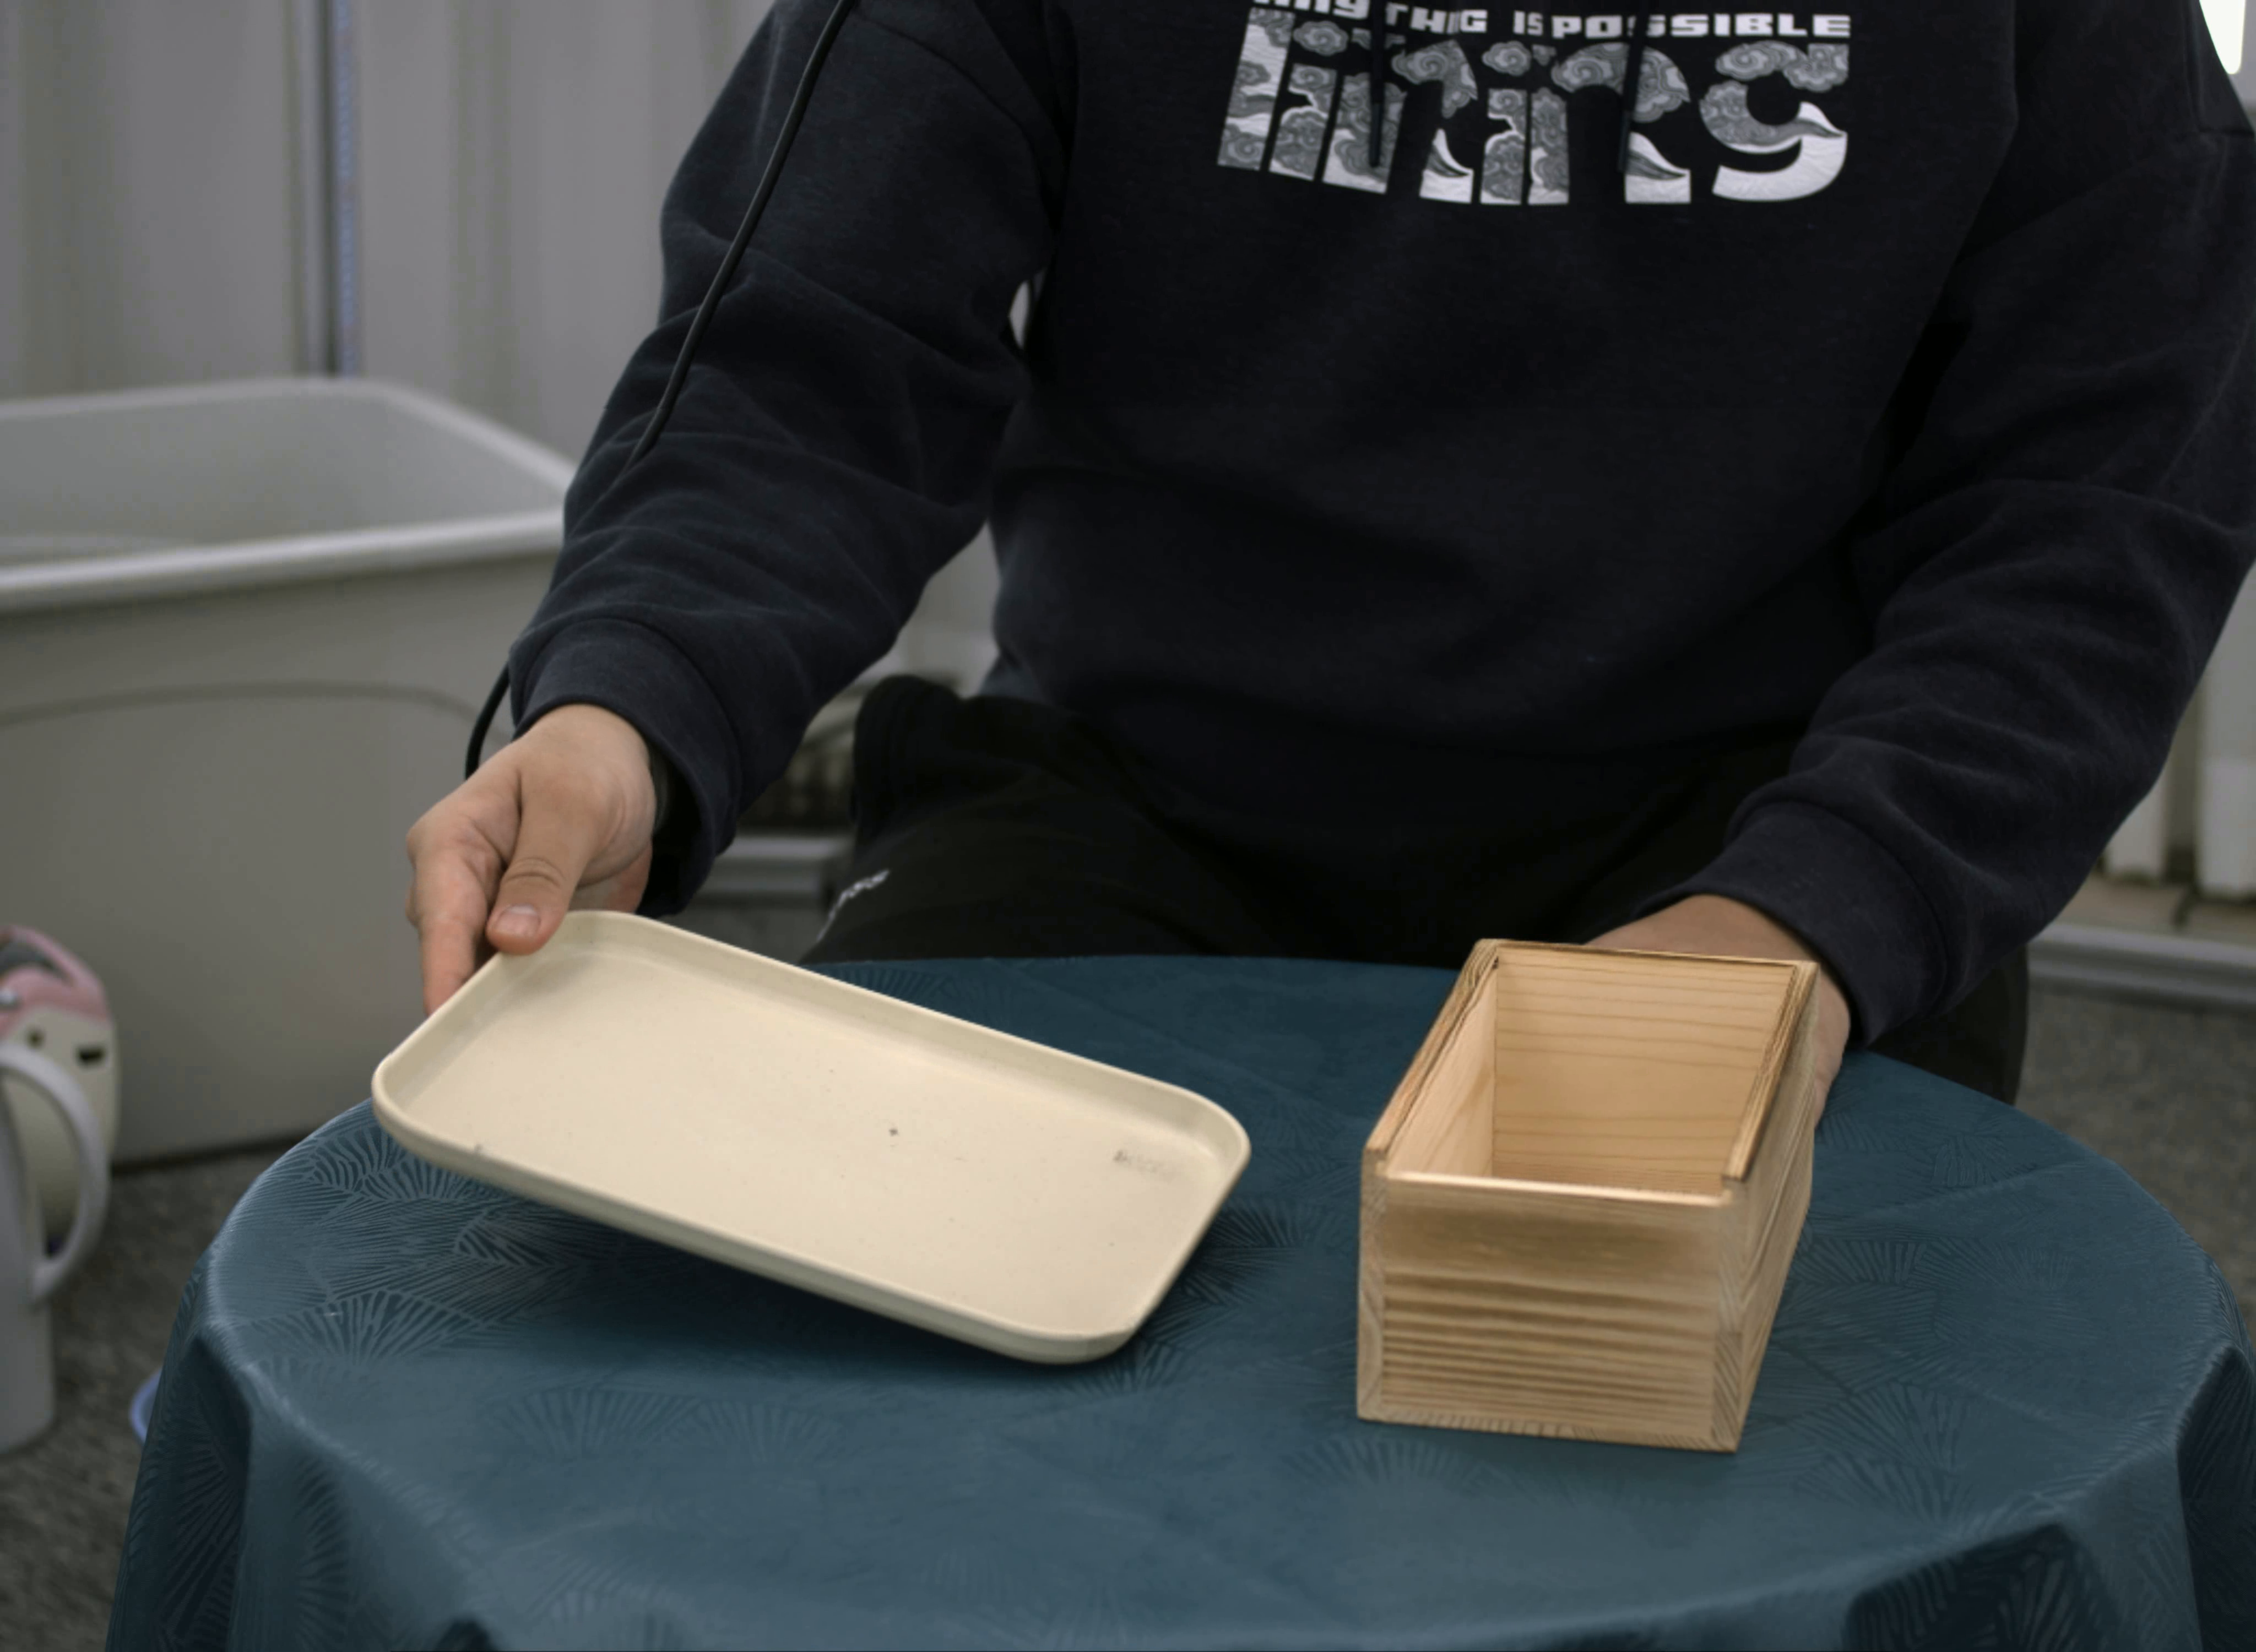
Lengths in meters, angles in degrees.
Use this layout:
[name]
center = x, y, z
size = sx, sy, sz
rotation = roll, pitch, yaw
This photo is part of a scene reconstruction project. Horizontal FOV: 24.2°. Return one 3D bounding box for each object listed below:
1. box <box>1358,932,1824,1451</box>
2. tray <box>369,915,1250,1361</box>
[box]
center = 0.137, 0.101, 1.523
size = 0.107, 0.081, 0.211
rotation = 4, 16, 11
[tray]
center = -0.092, 0.091, 1.558
size = 0.238, 0.017, 0.171
rotation = 16, 25, 10
